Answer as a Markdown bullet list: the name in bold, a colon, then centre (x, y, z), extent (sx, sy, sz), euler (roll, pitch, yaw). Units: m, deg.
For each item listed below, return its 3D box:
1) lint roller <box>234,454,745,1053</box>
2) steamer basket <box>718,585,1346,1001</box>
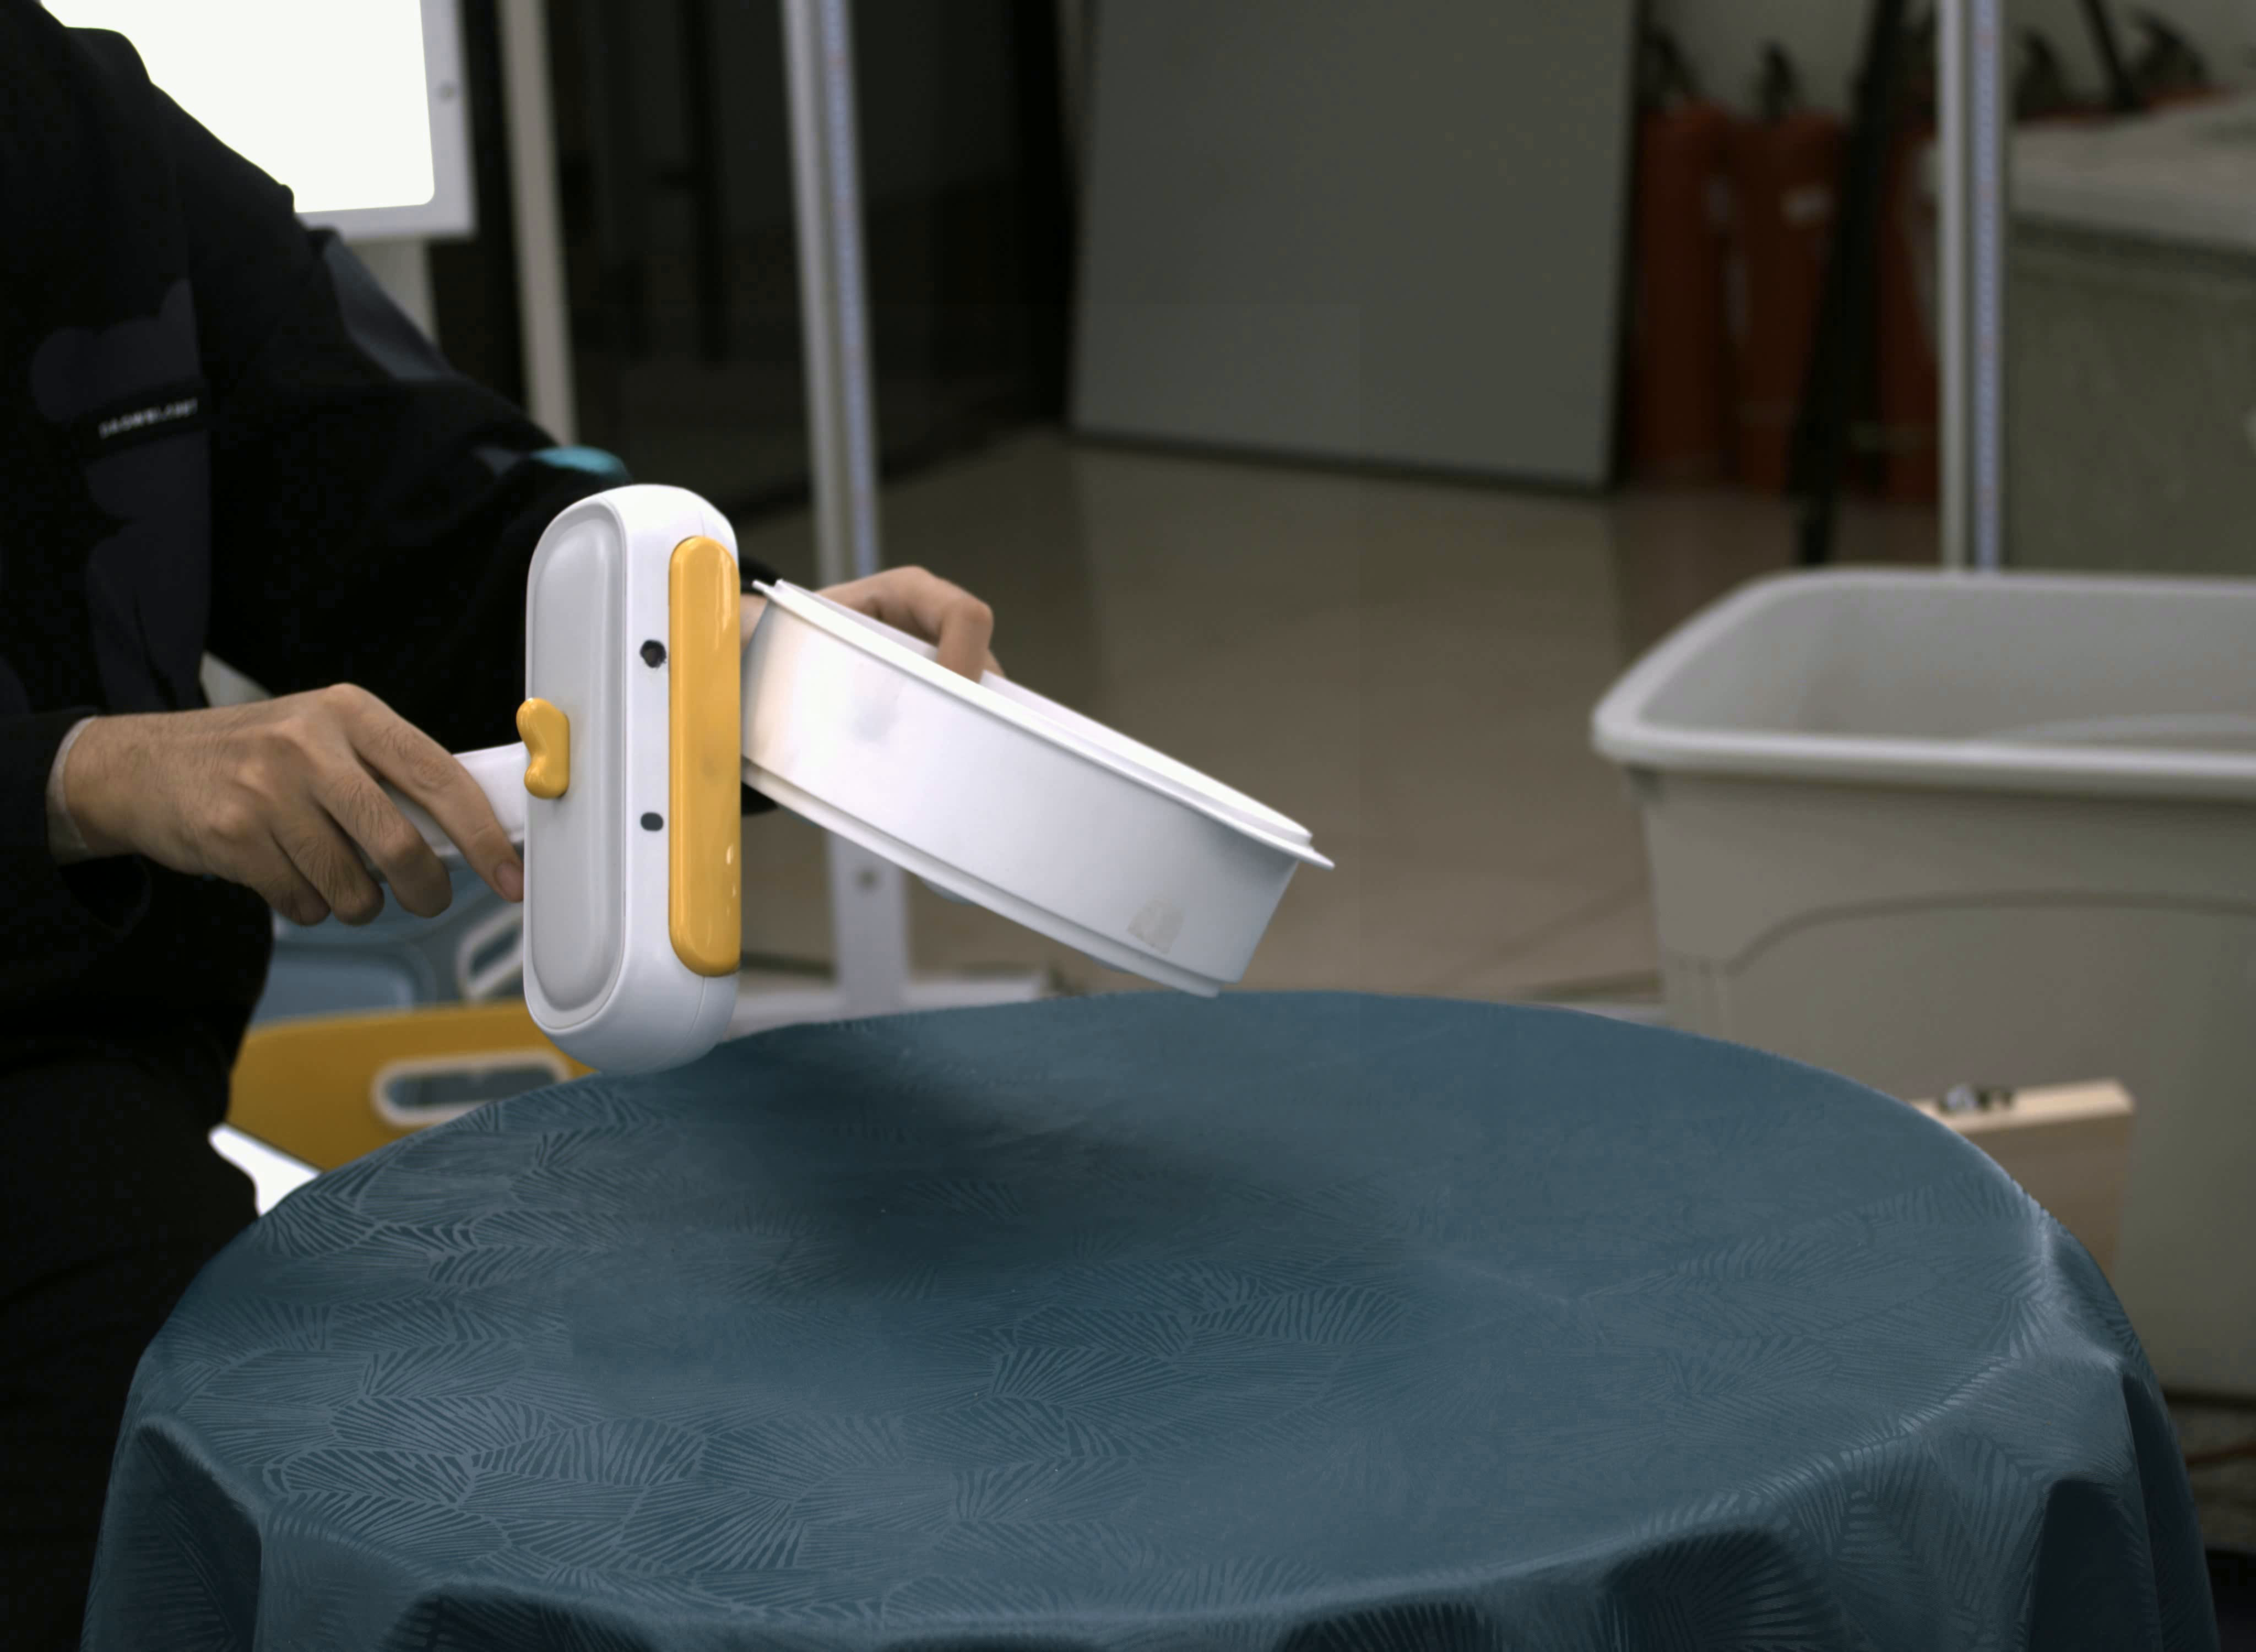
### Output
- **lint roller**: centre (-0.206, -0.009, 1.753), extent (0.194, 0.195, 0.072), euler (-21, -21, 37)
- **steamer basket**: centre (-0.038, -0.008, 1.760), extent (0.232, 0.070, 0.198), euler (24, 0, 33)
